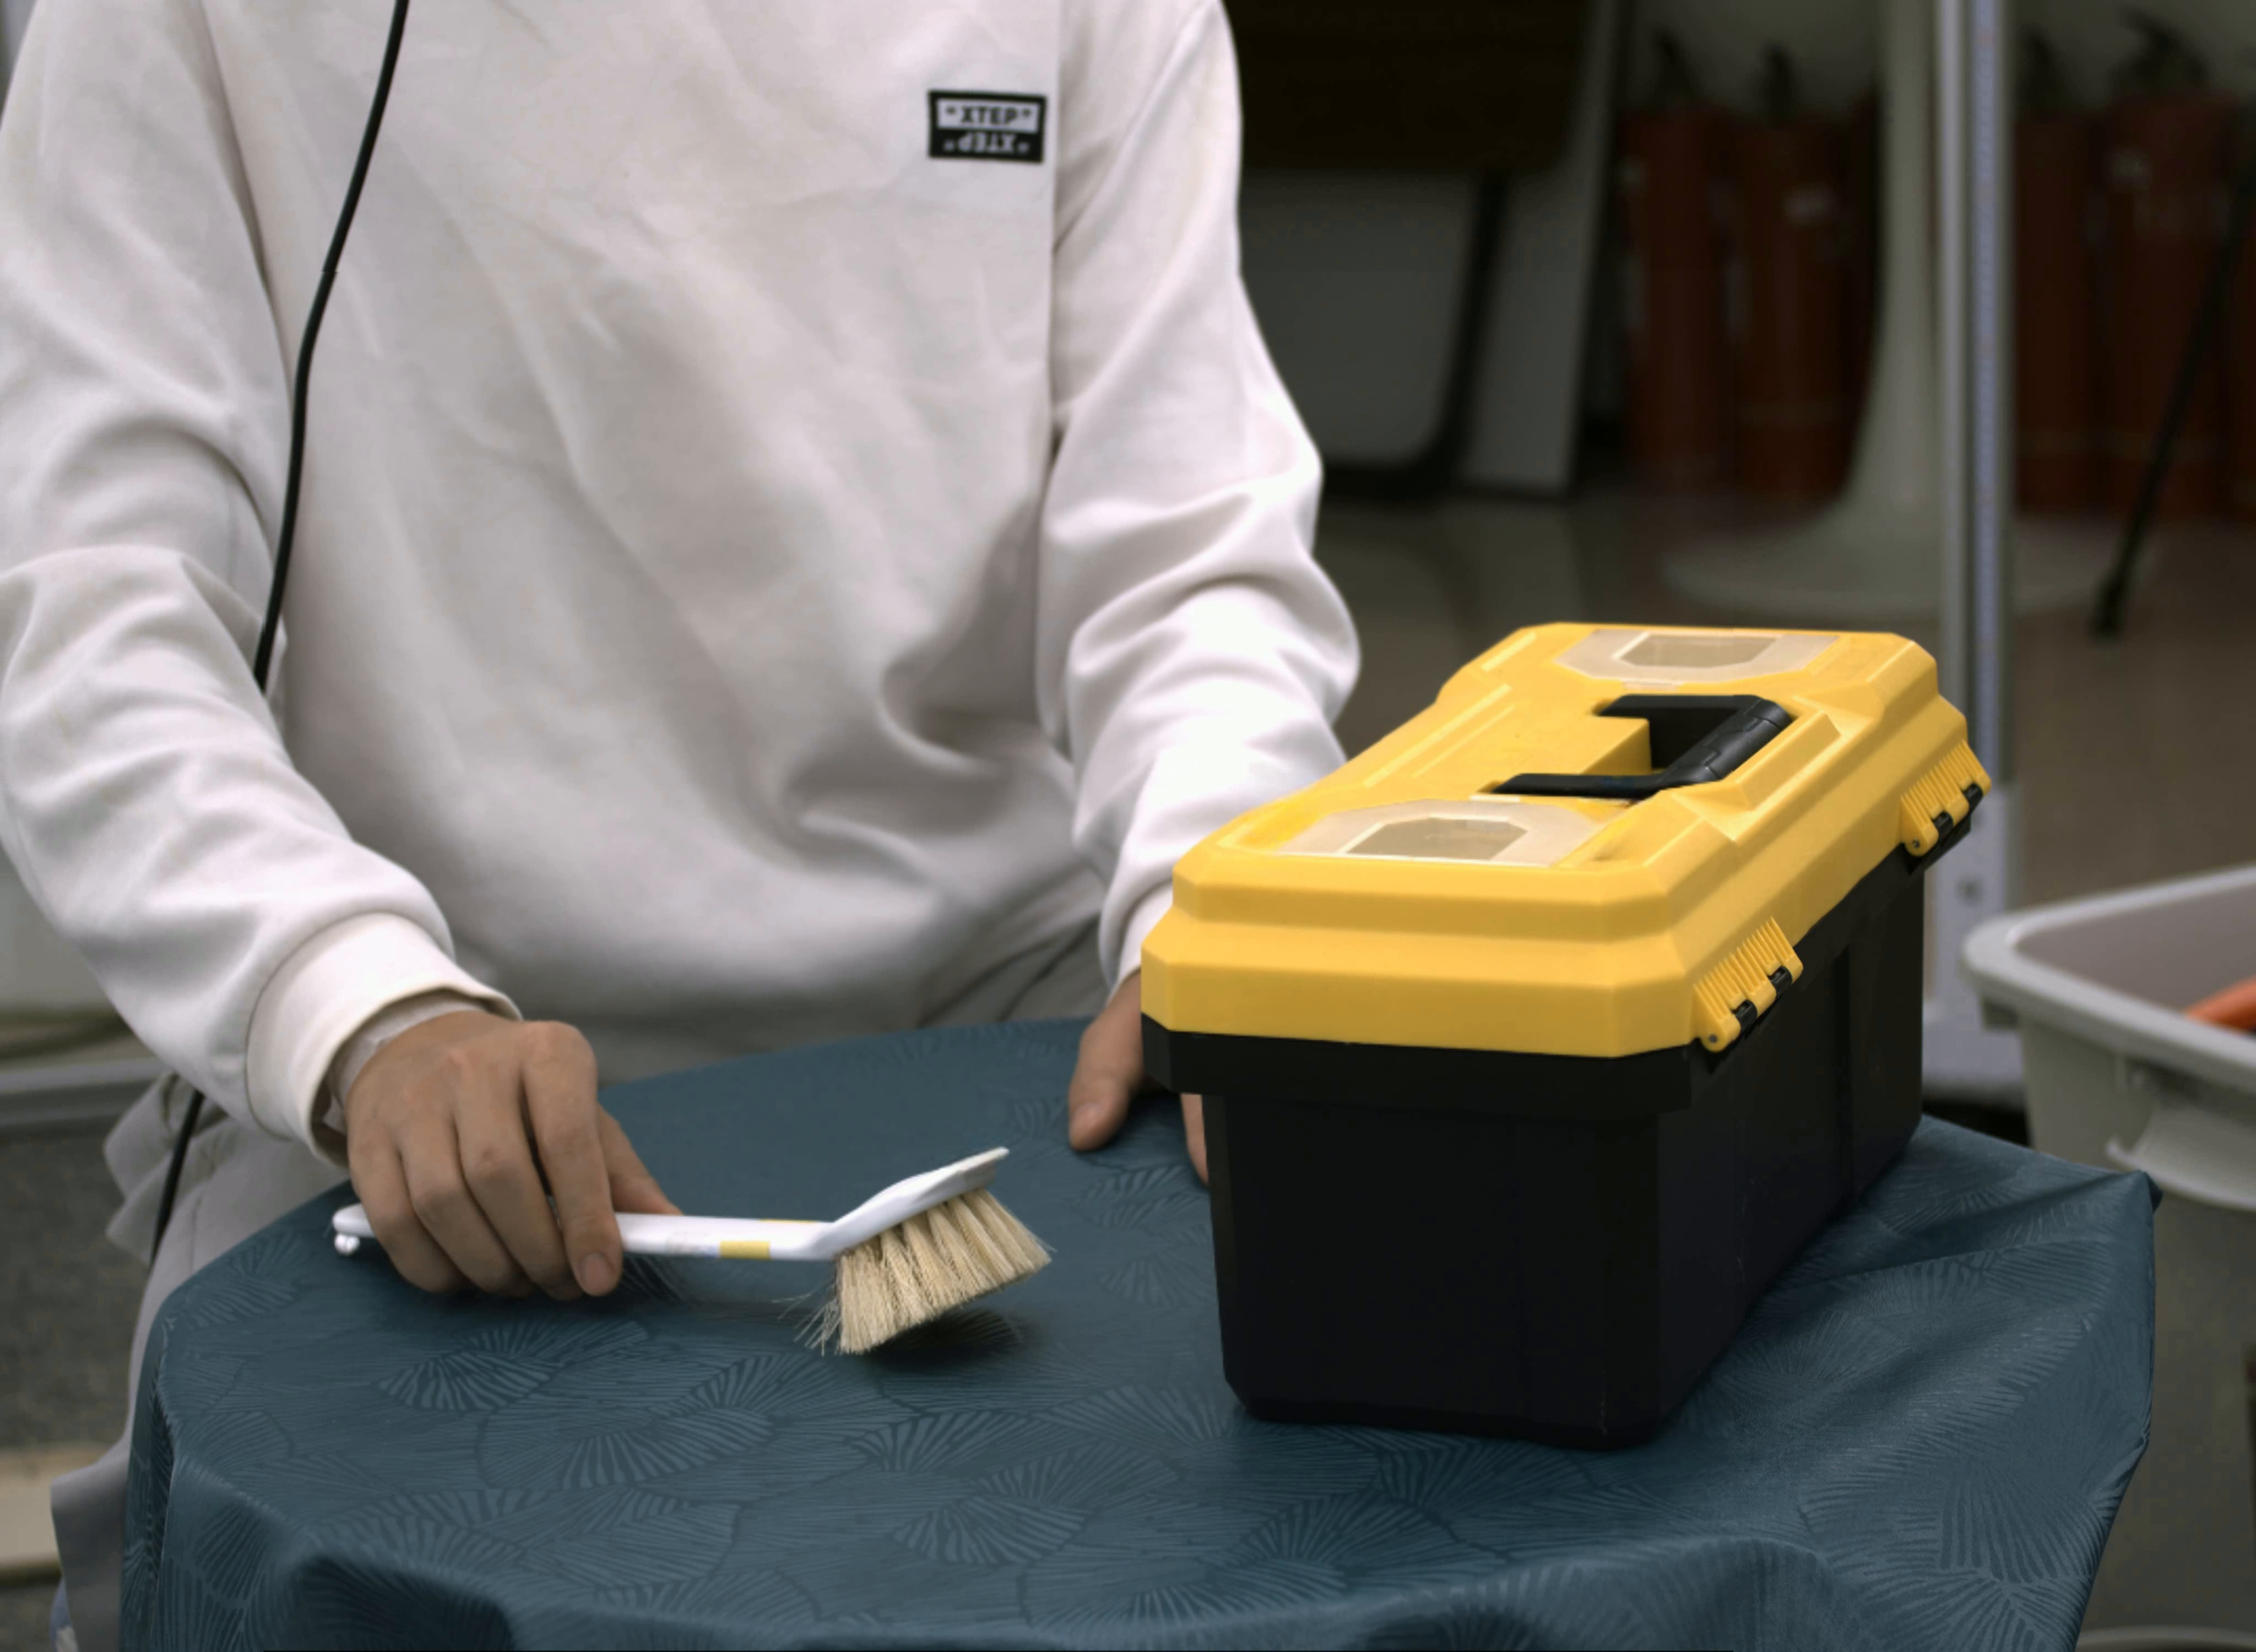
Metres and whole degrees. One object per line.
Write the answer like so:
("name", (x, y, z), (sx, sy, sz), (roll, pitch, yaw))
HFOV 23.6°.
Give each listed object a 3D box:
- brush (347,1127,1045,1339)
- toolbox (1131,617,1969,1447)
("brush", (-0.139, 0.143, 1.695), (0.268, 0.057, 0.067), (-13, -13, 34))
("toolbox", (0.139, 0.053, 1.645), (0.181, 0.175, 0.347), (3, 14, 23))
